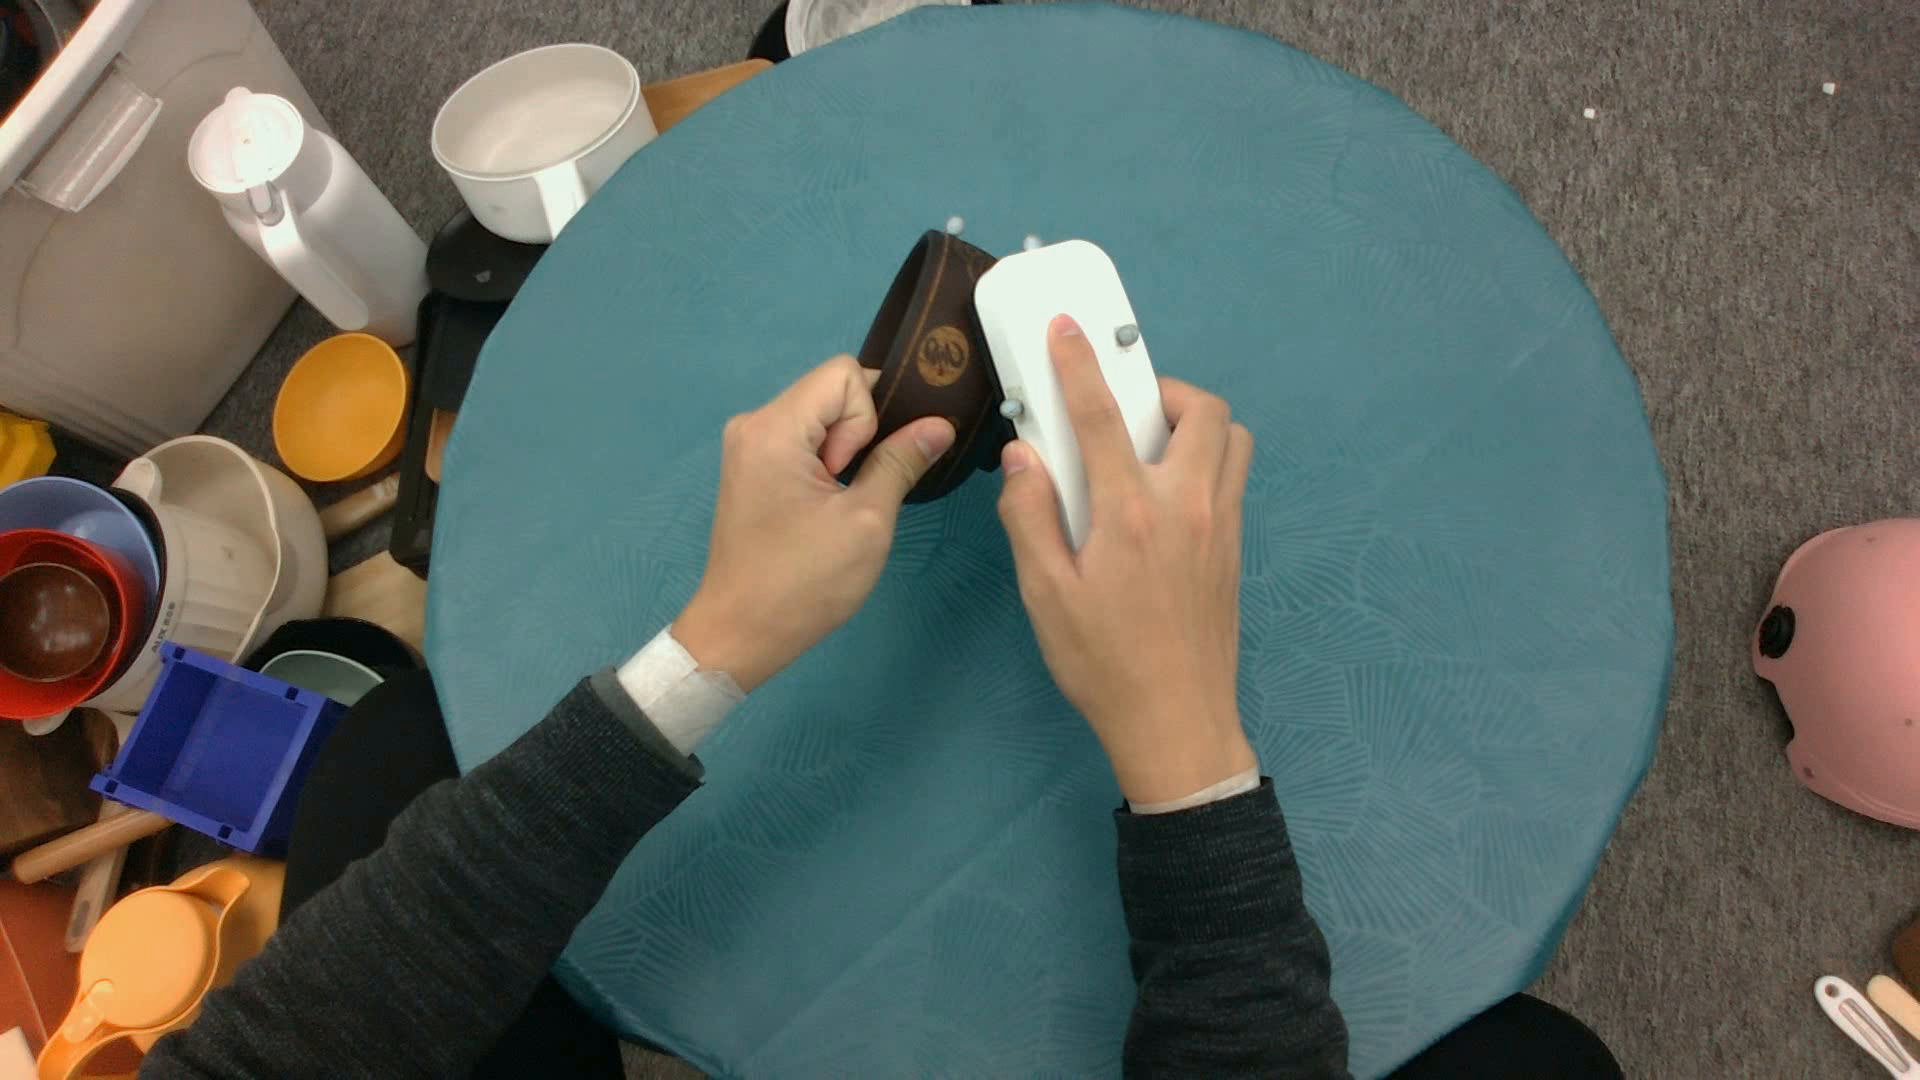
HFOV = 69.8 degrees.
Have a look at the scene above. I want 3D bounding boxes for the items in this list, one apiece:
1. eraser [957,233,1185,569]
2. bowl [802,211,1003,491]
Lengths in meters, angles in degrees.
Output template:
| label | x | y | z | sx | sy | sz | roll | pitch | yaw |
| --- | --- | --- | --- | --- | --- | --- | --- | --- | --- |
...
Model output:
| label | x | y | z | sx | sy | sz | roll | pitch | yaw |
| --- | --- | --- | --- | --- | --- | --- | --- | --- | --- |
| eraser | 0.044 | -0.054 | 0.547 | 0.063 | 0.034 | 0.131 | -20 | 92 | -31 |
| bowl | -0.014 | -0.075 | 0.596 | 0.070 | 0.117 | 0.118 | 22 | 71 | -15 |
